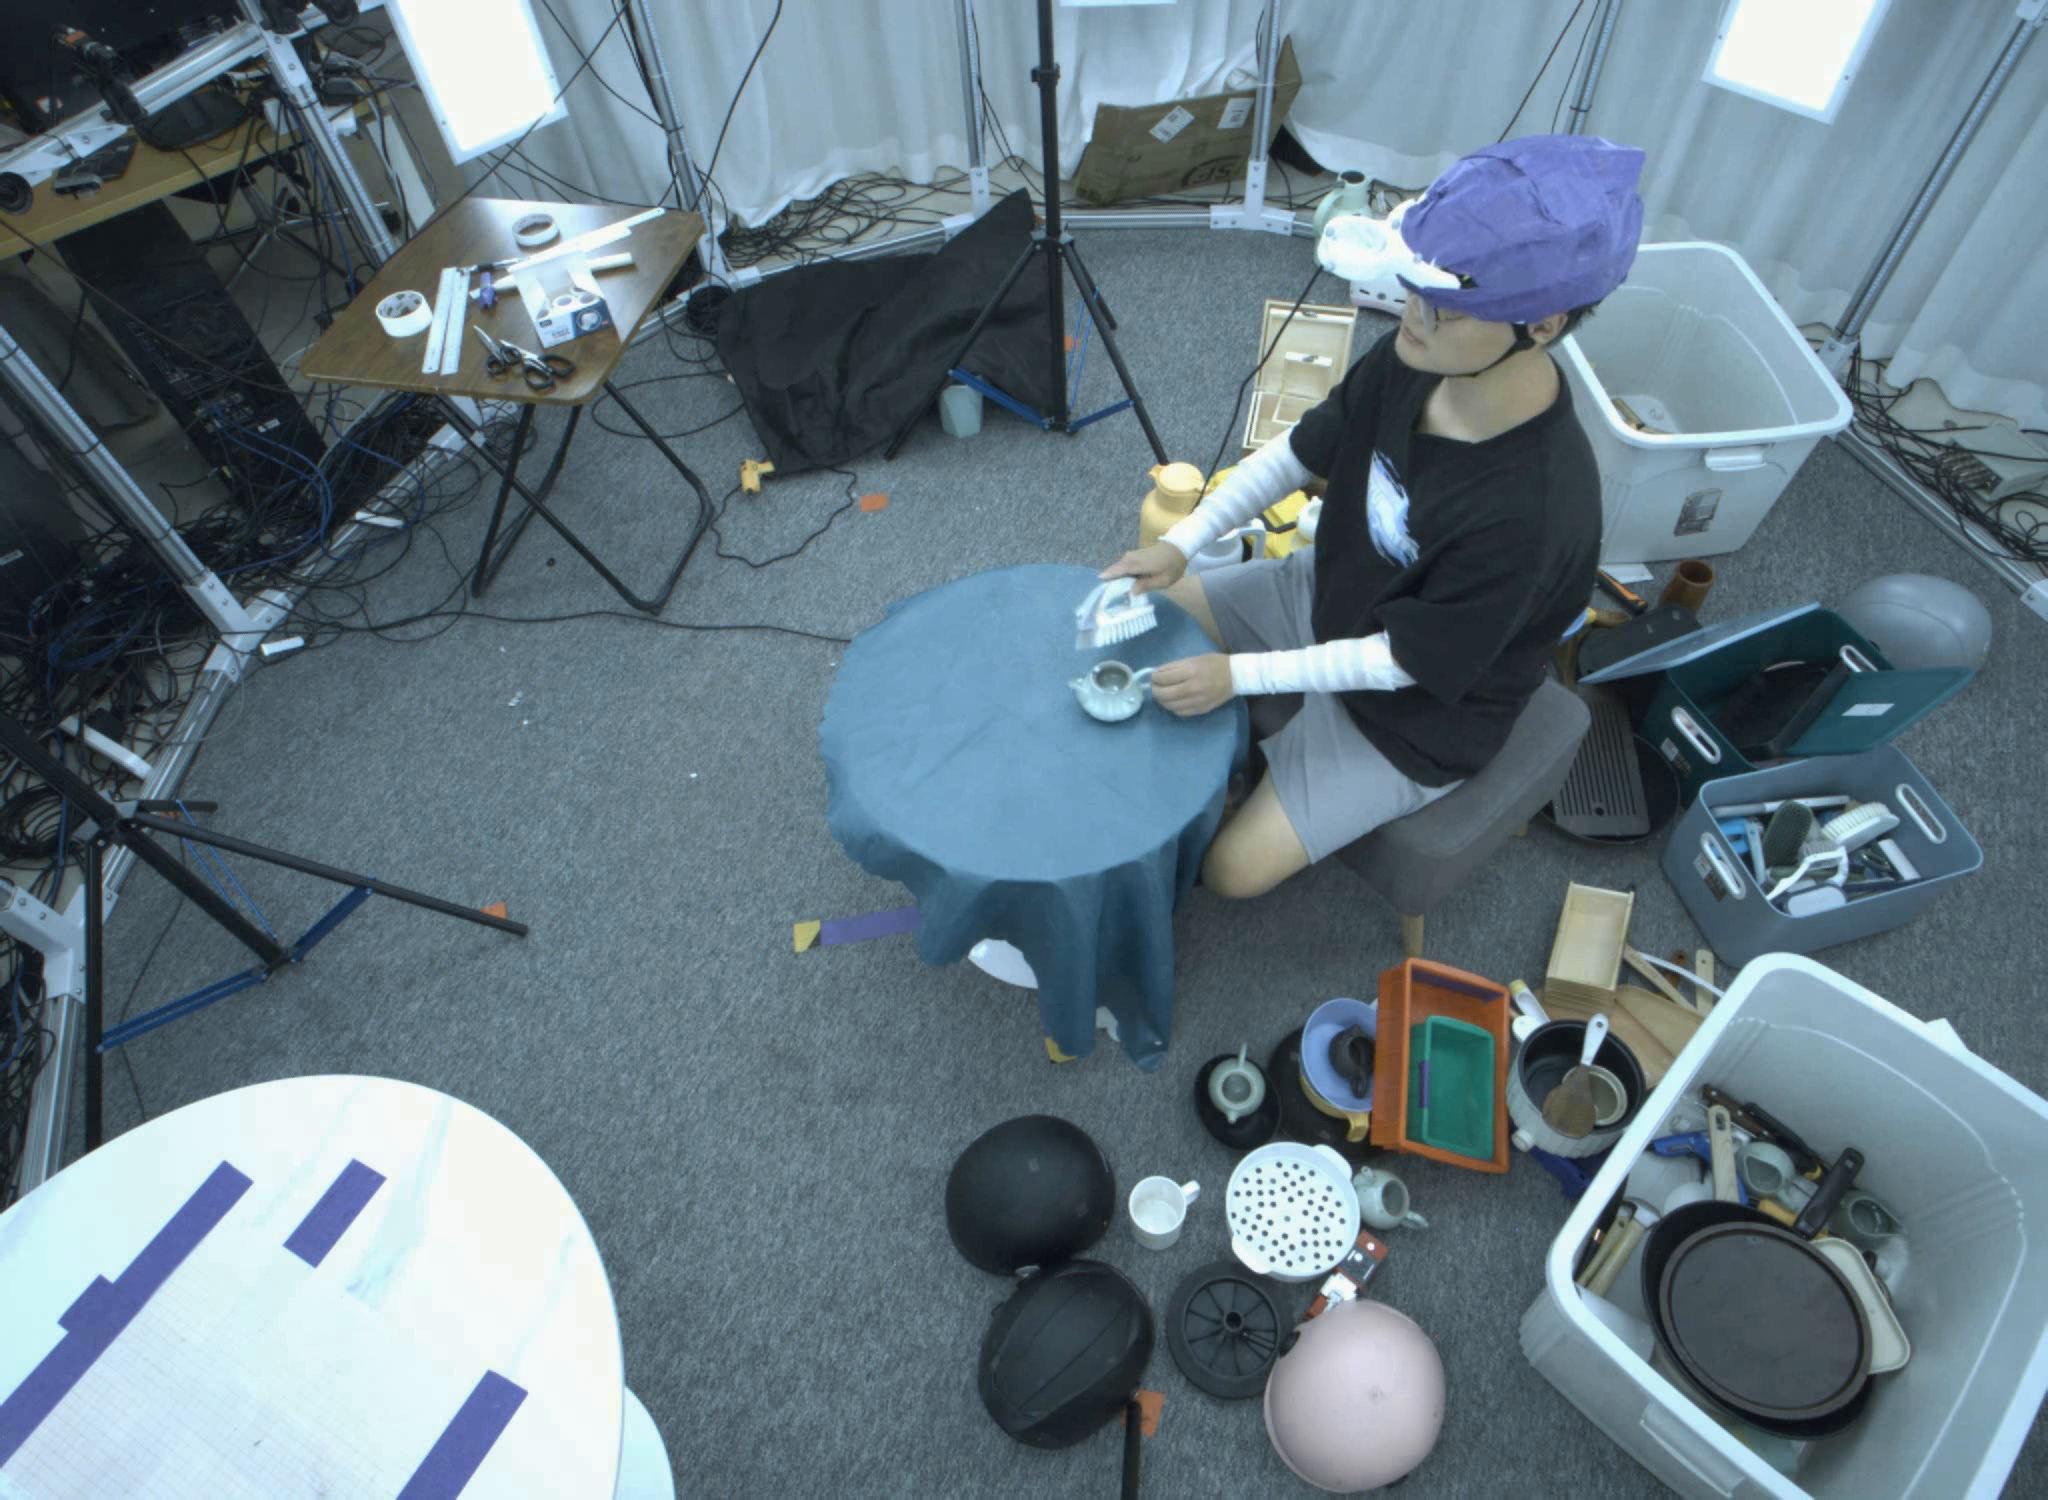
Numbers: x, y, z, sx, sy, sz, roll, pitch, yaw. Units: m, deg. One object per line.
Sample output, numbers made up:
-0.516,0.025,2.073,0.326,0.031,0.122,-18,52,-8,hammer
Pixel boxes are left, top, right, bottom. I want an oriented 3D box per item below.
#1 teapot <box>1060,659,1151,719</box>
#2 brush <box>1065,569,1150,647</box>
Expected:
0.120,-0.094,1.804,0.137,0.062,0.094,-13,53,-7,teapot
0.112,-0.212,1.807,0.060,0.095,0.178,4,21,41,brush
